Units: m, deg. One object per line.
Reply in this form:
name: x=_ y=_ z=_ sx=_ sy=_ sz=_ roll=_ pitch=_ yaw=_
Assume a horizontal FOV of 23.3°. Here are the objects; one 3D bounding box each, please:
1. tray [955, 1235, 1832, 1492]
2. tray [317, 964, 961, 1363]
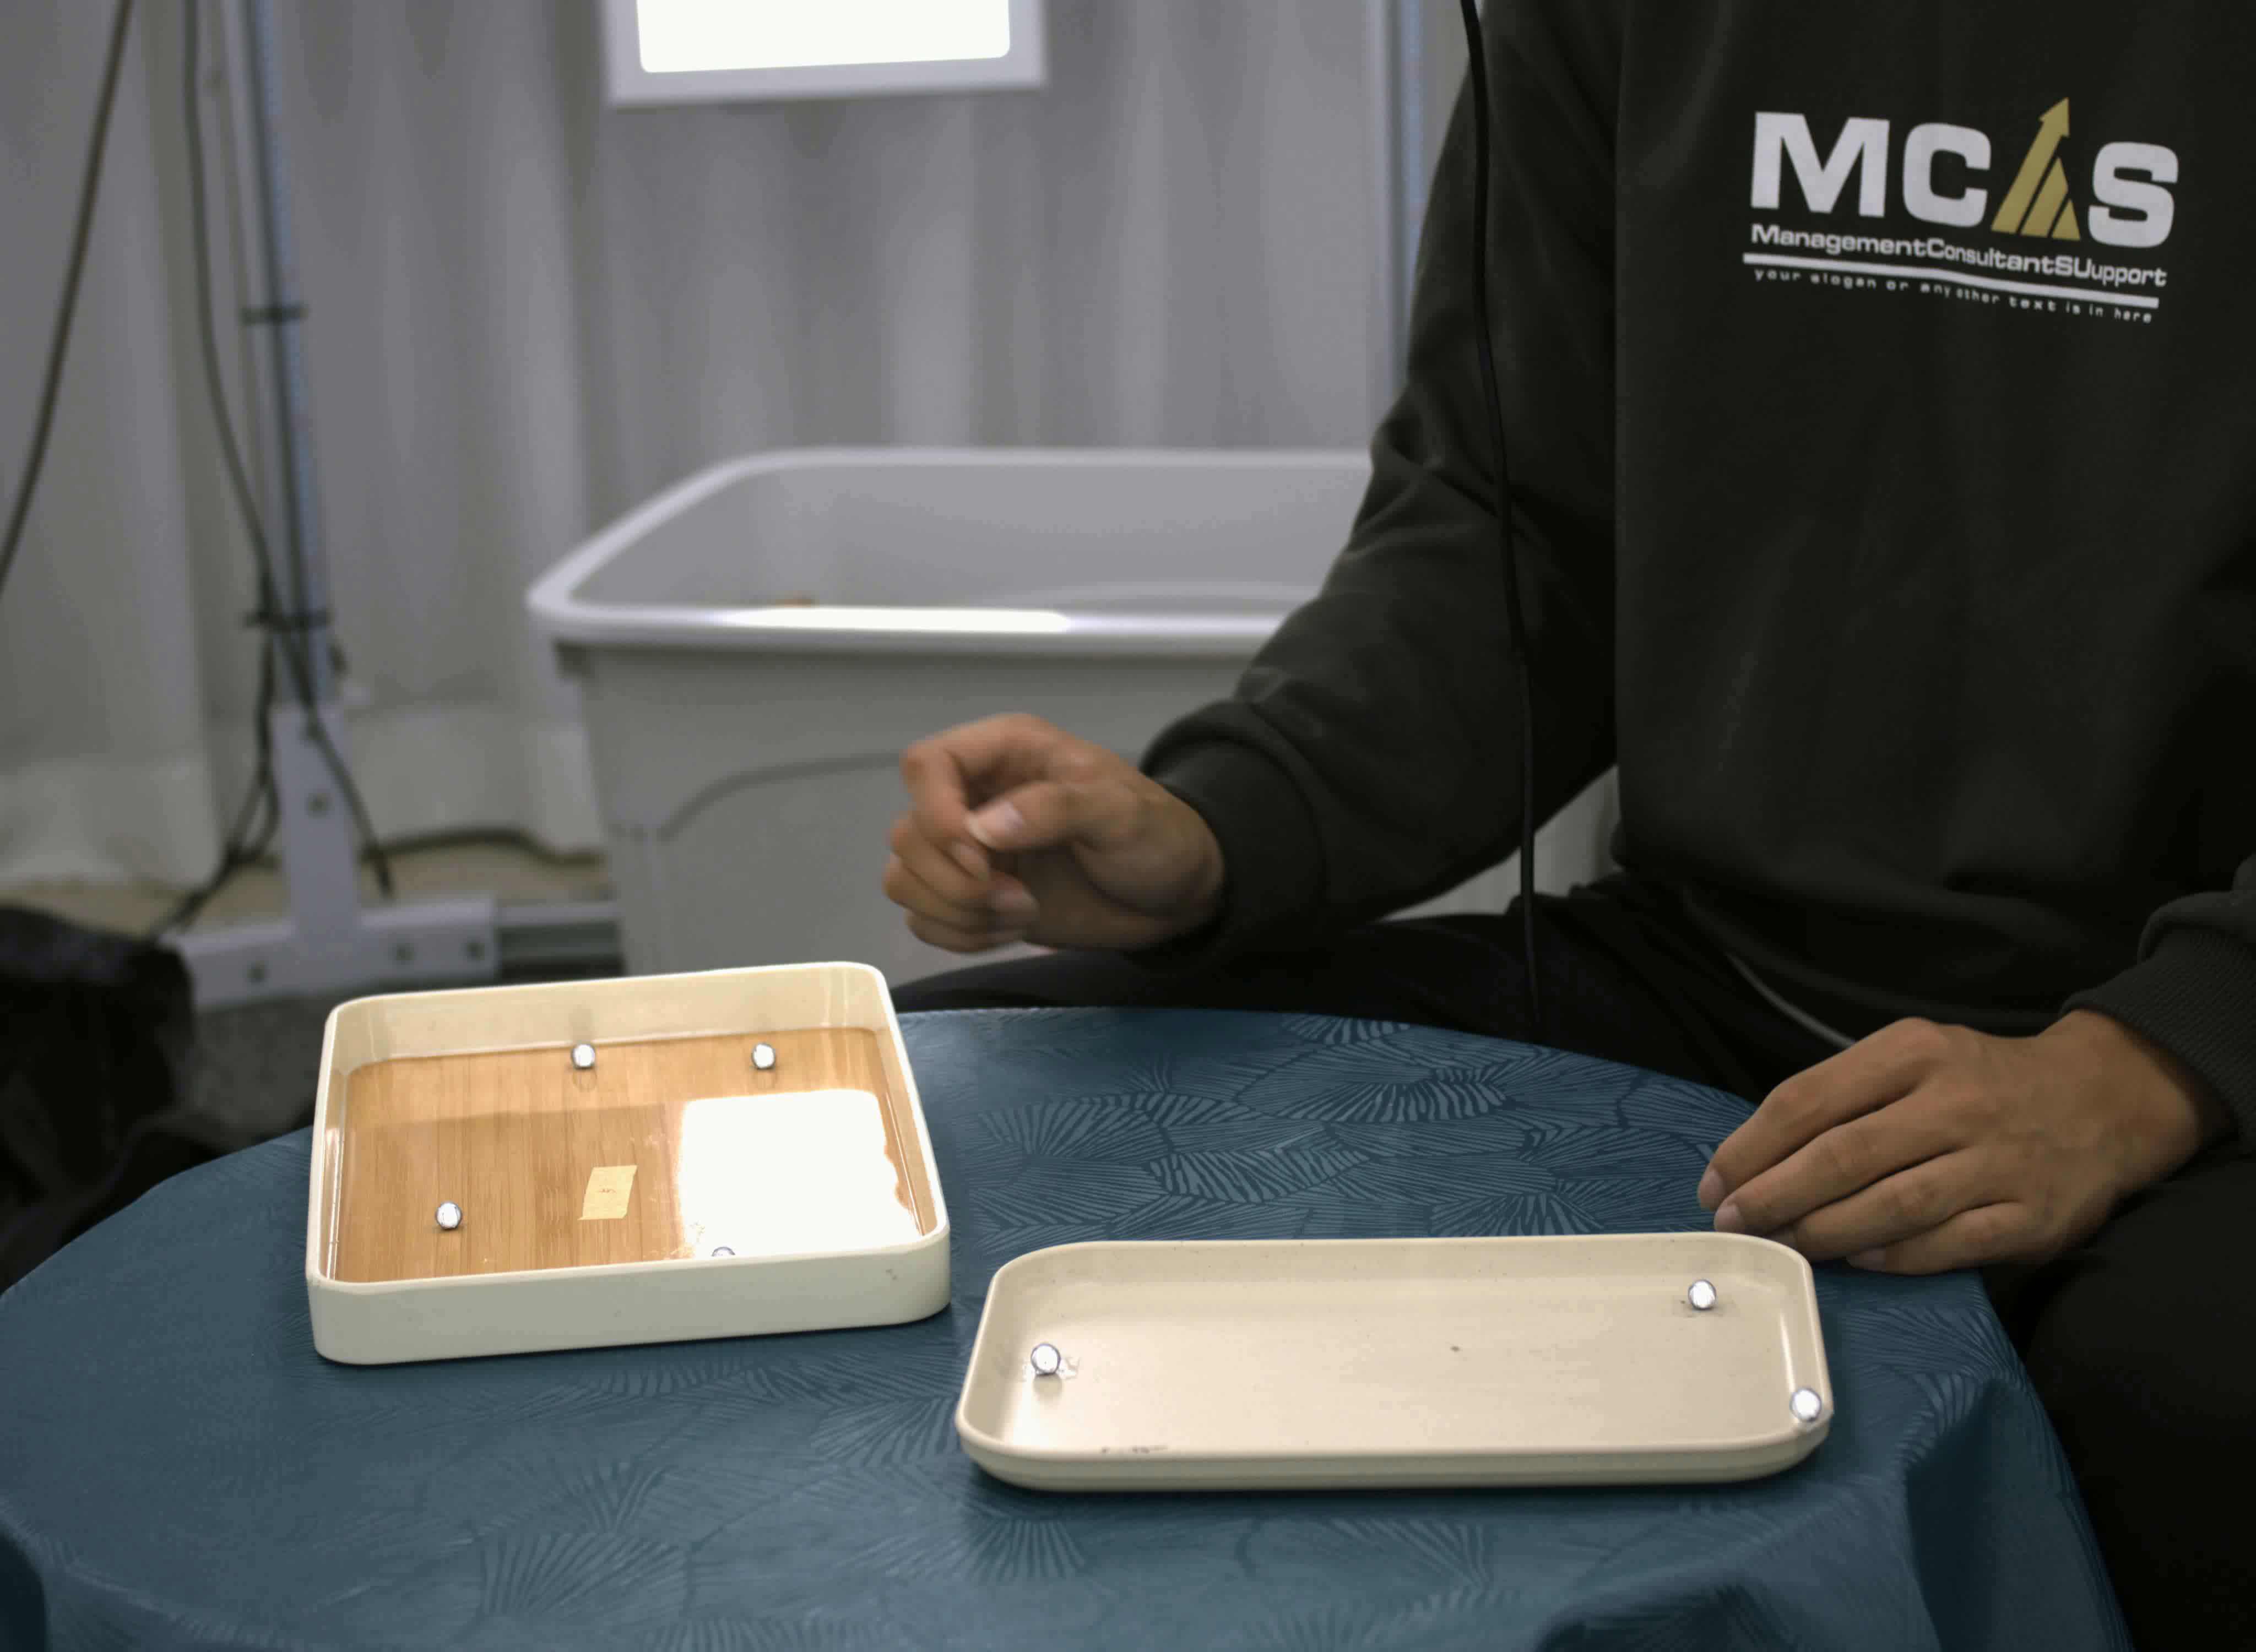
tray: x=0.075 y=0.152 z=1.535 sx=0.239 sy=0.017 sz=0.172 roll=-1 pitch=14 yaw=4
tray: x=-0.159 y=0.103 z=1.738 sx=0.191 sy=0.027 sz=0.302 roll=-4 pitch=15 yaw=-6
